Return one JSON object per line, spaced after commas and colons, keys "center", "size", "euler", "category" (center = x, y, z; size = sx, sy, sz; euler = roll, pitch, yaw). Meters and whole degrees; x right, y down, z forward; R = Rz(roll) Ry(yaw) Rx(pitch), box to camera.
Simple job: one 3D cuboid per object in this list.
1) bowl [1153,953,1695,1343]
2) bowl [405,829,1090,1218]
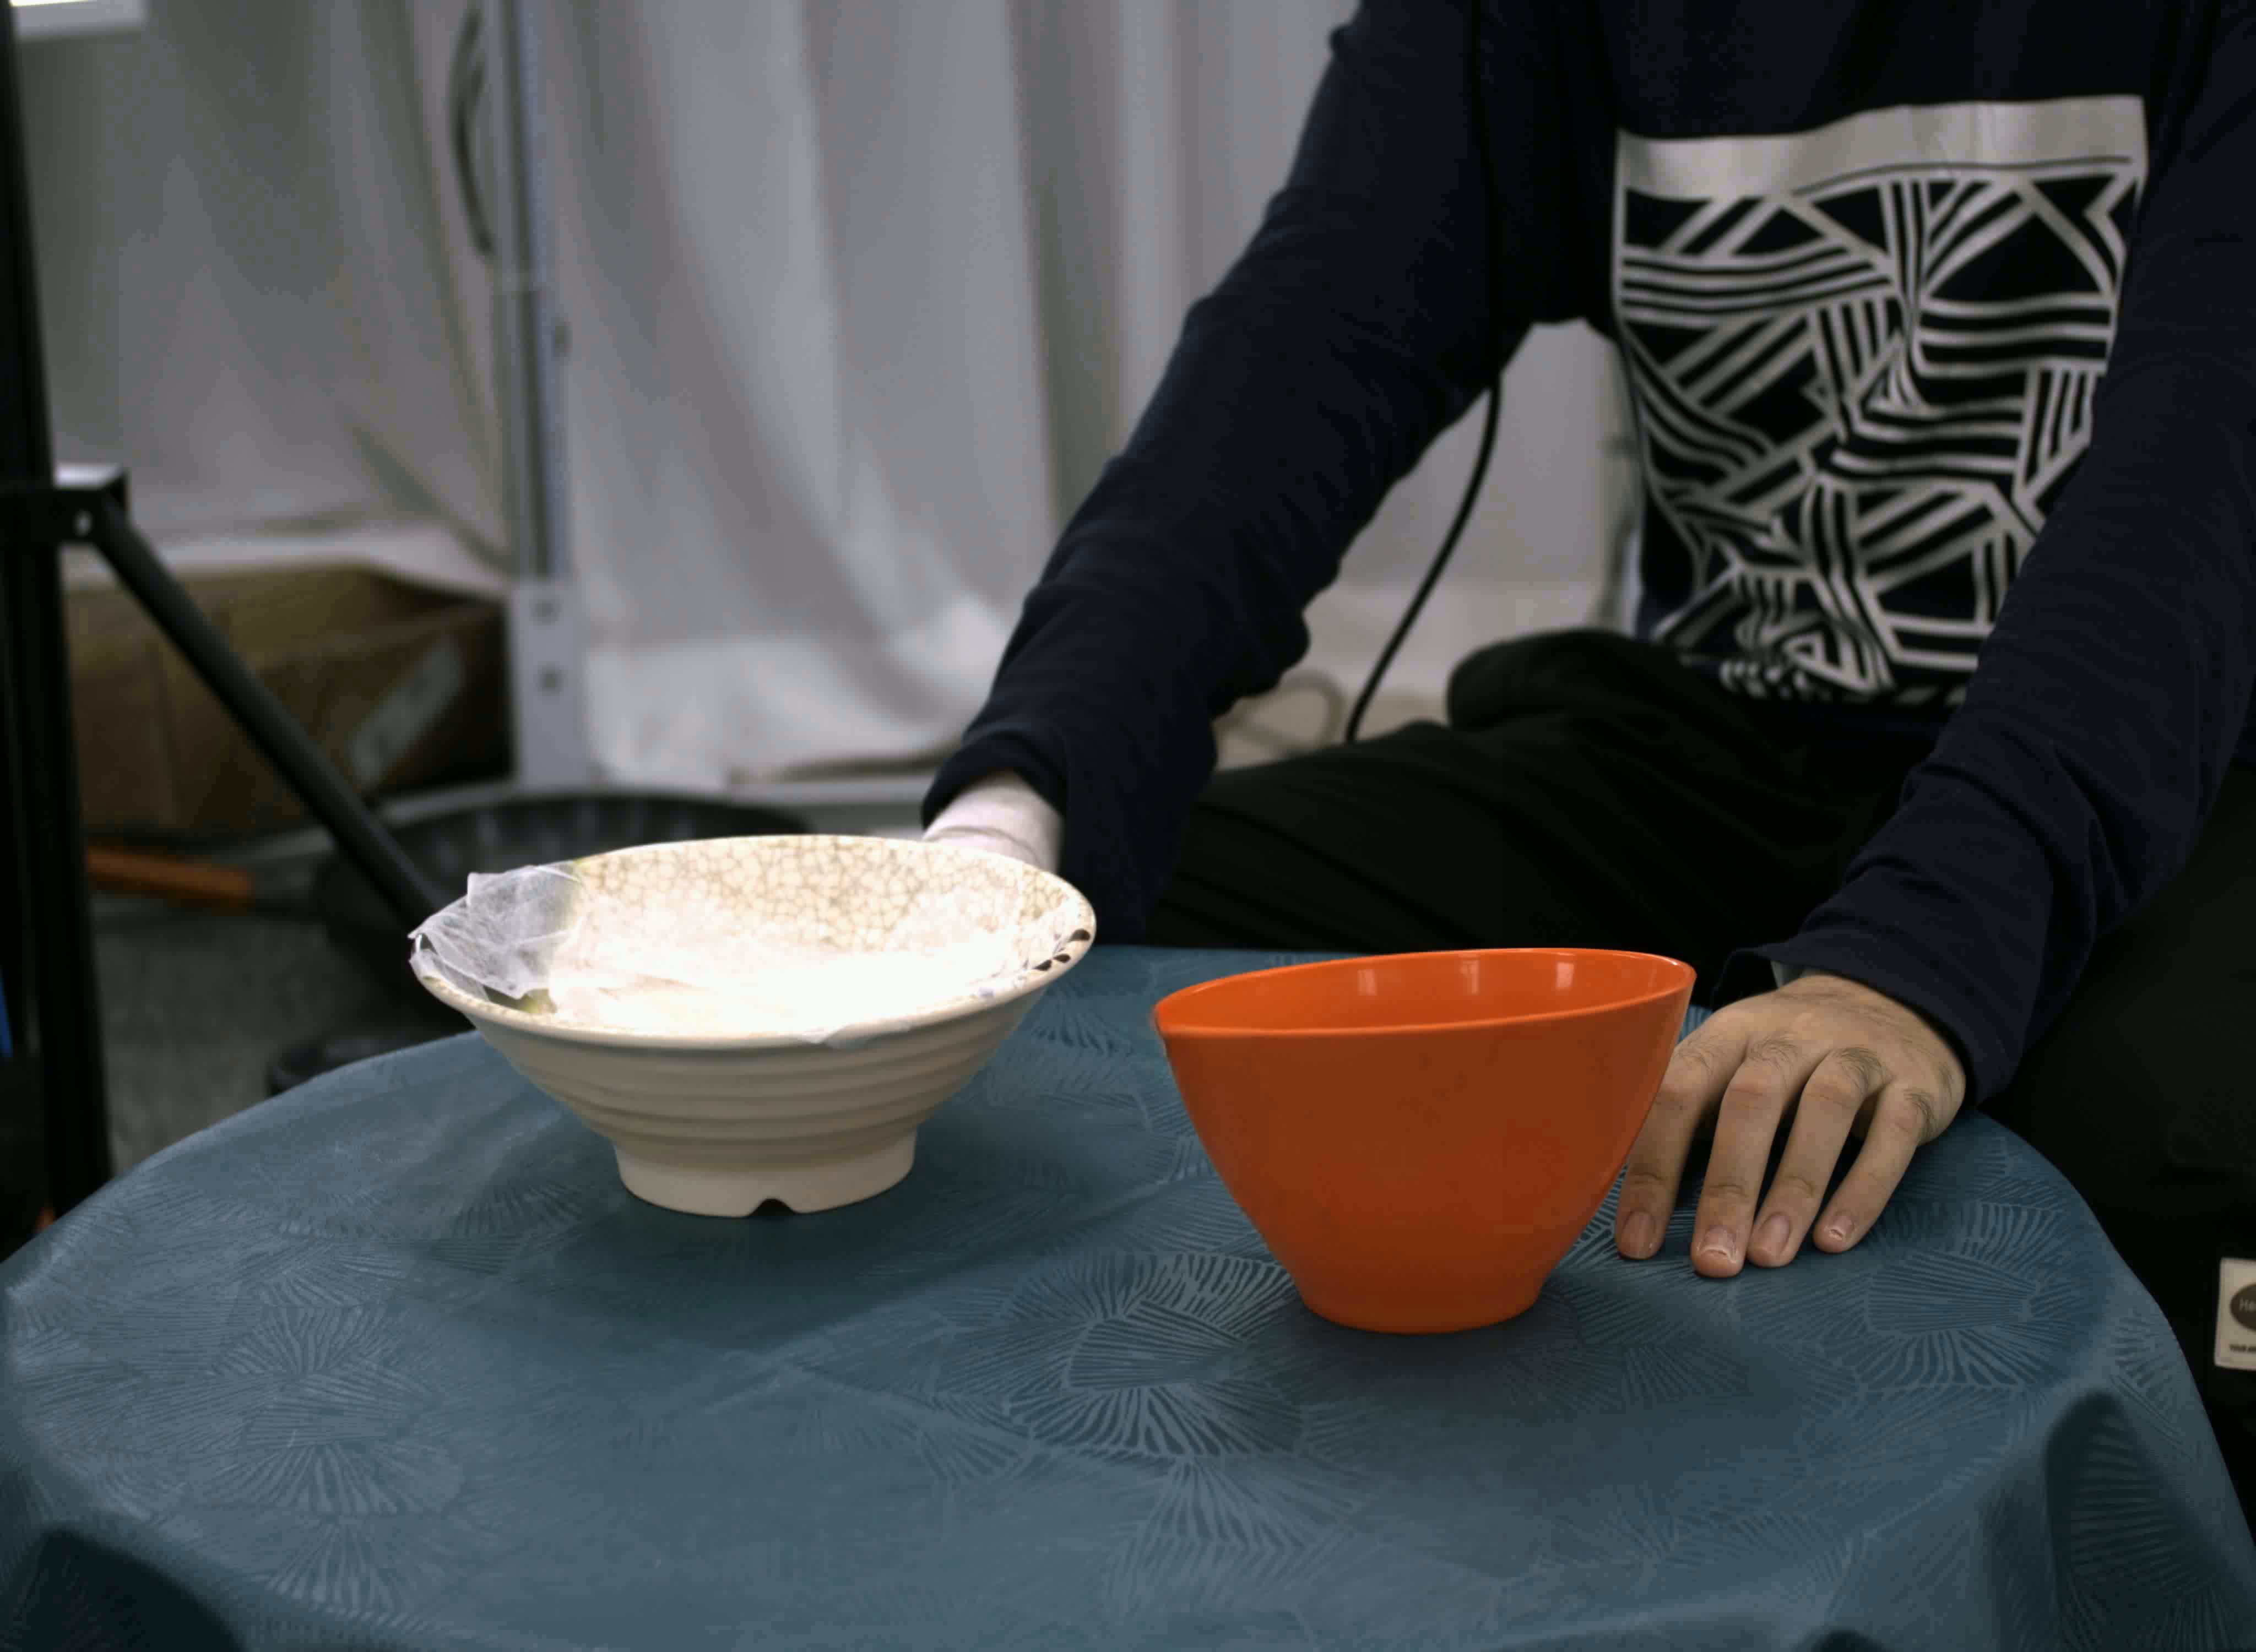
{"center": [0.081, 0.085, 1.447], "size": [0.147, 0.105, 0.149], "euler": [-3, 14, -1], "category": "bowl"}
{"center": [-0.112, 0.066, 1.588], "size": [0.203, 0.078, 0.205], "euler": [-2, 16, -1], "category": "bowl"}
